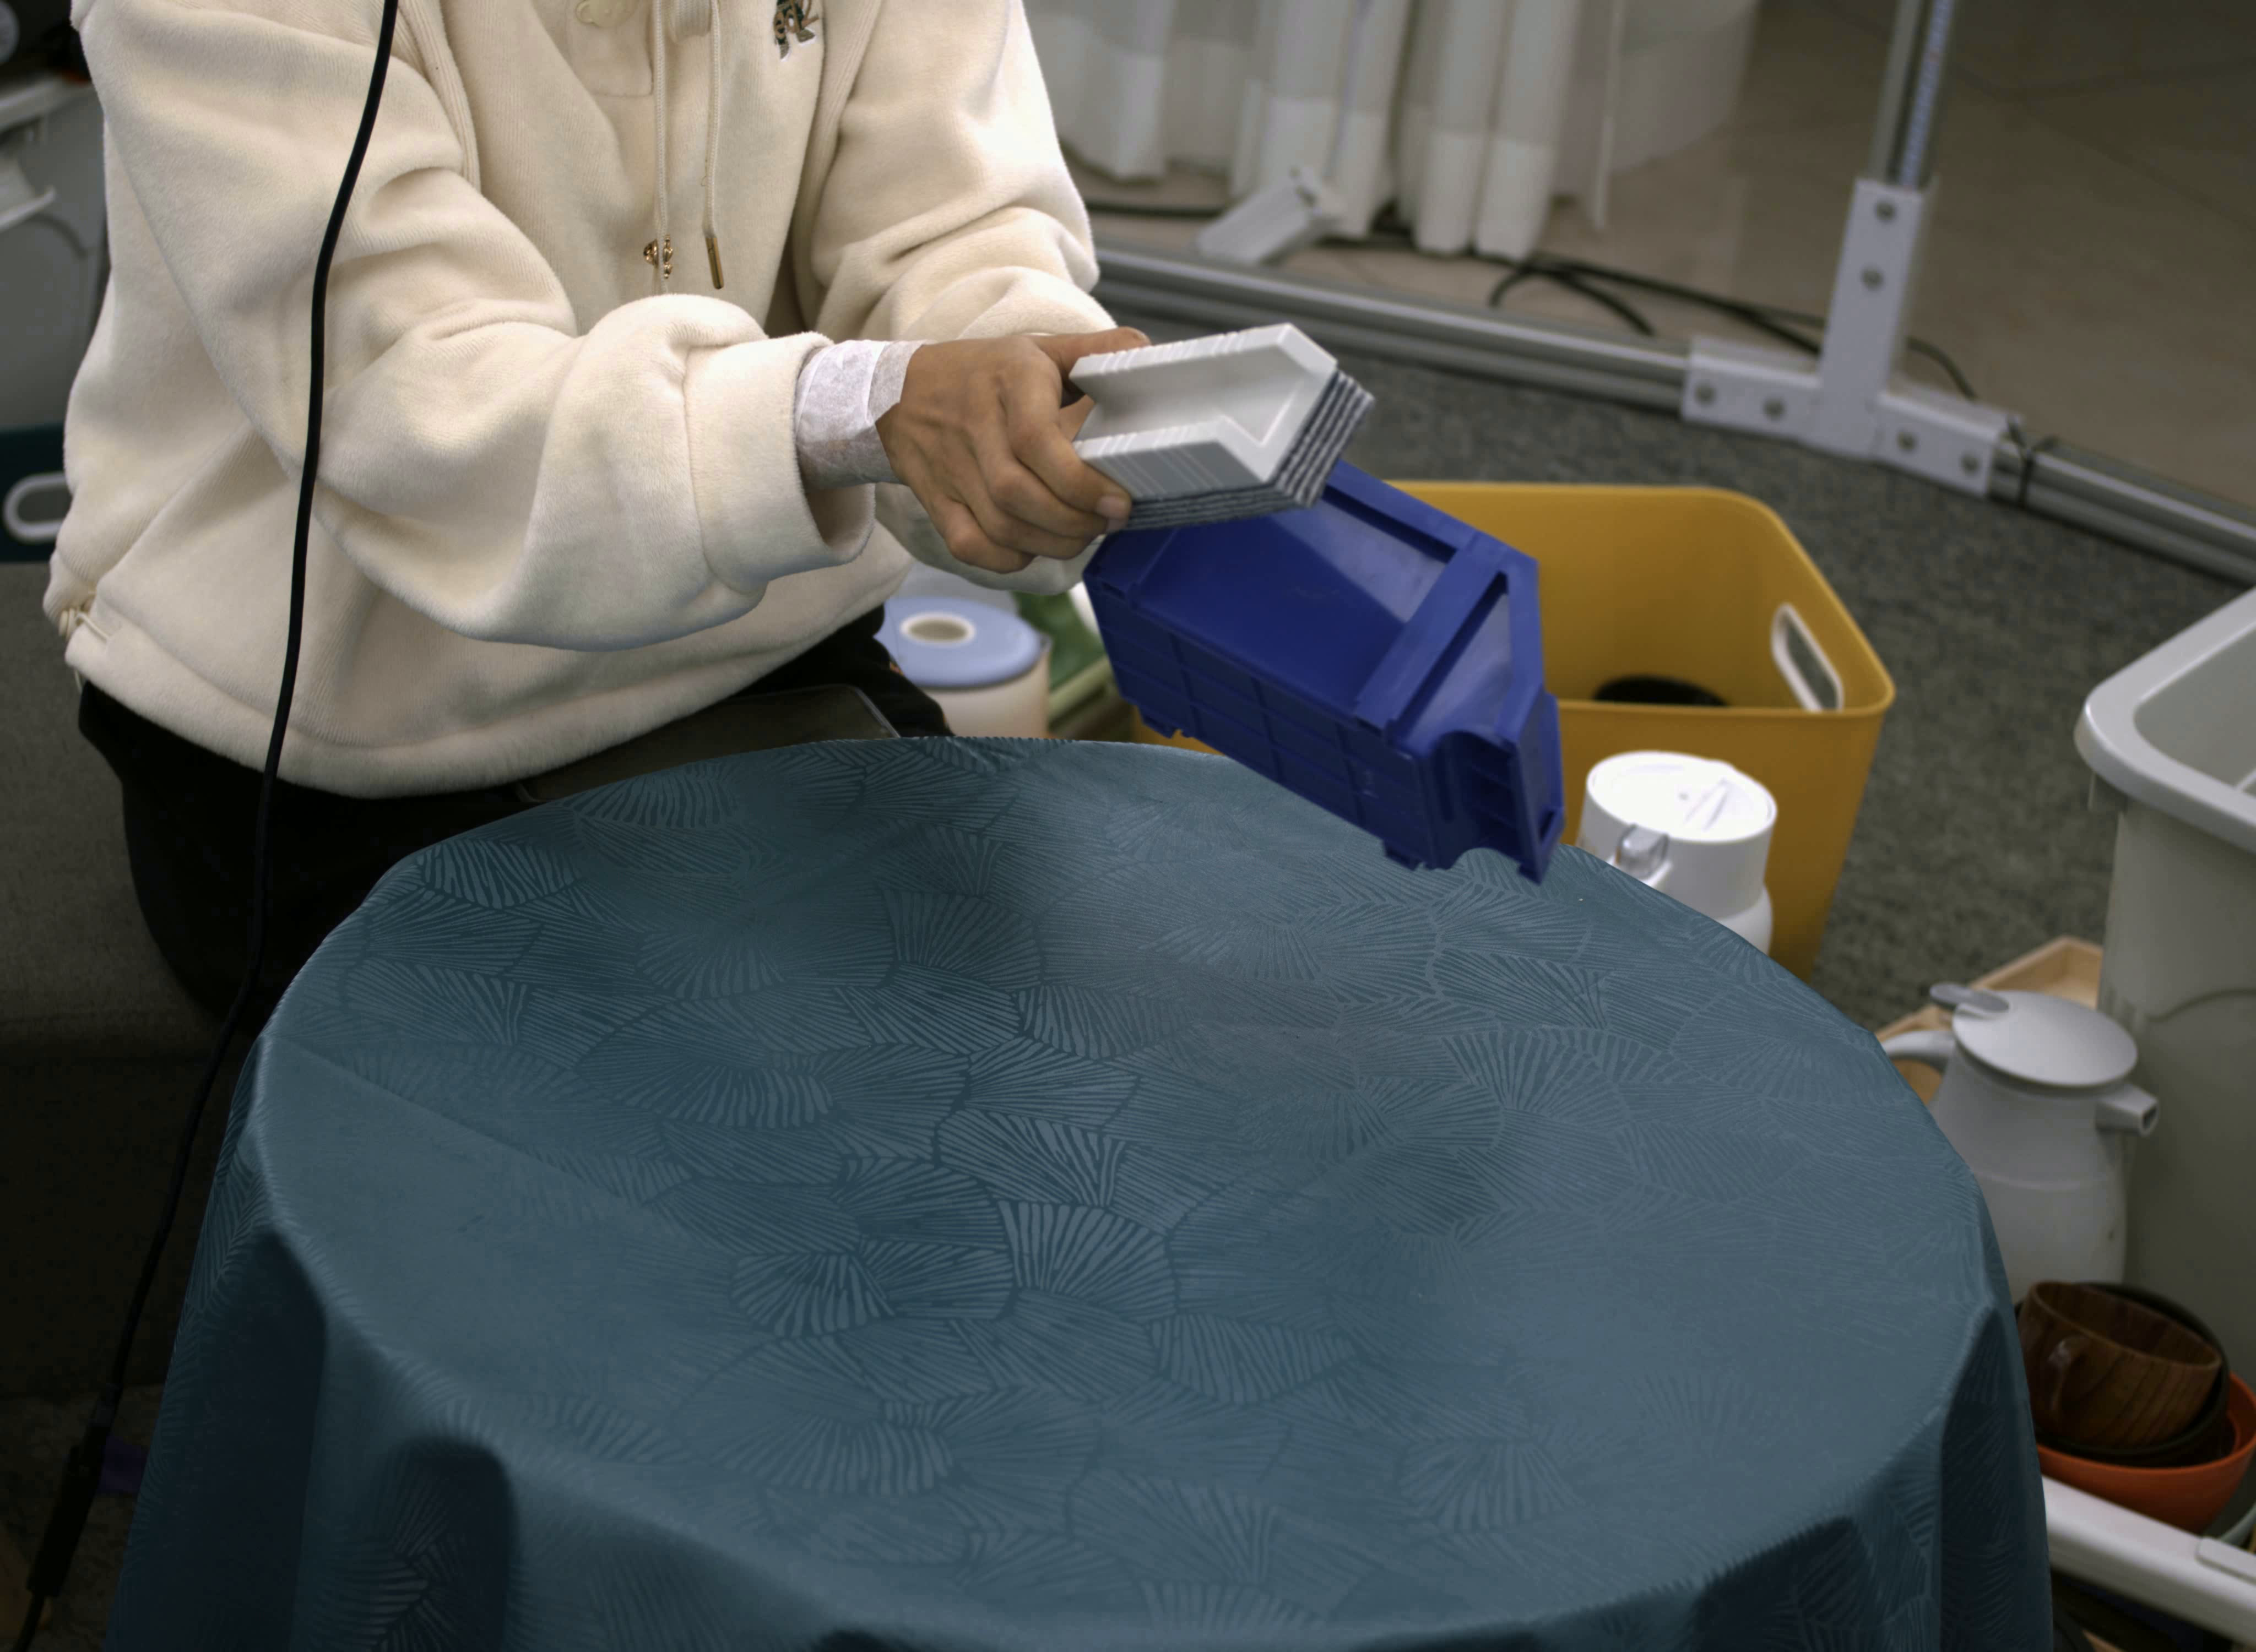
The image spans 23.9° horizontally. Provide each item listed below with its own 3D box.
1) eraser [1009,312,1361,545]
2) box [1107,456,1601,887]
[{"bbox_3d":[0.018,-0.130,1.770,0.046,0.050,0.135,37,-21,-25],"label":"eraser"},{"bbox_3d":[0.085,-0.057,1.850,0.180,0.123,0.082,26,72,21],"label":"box"}]
